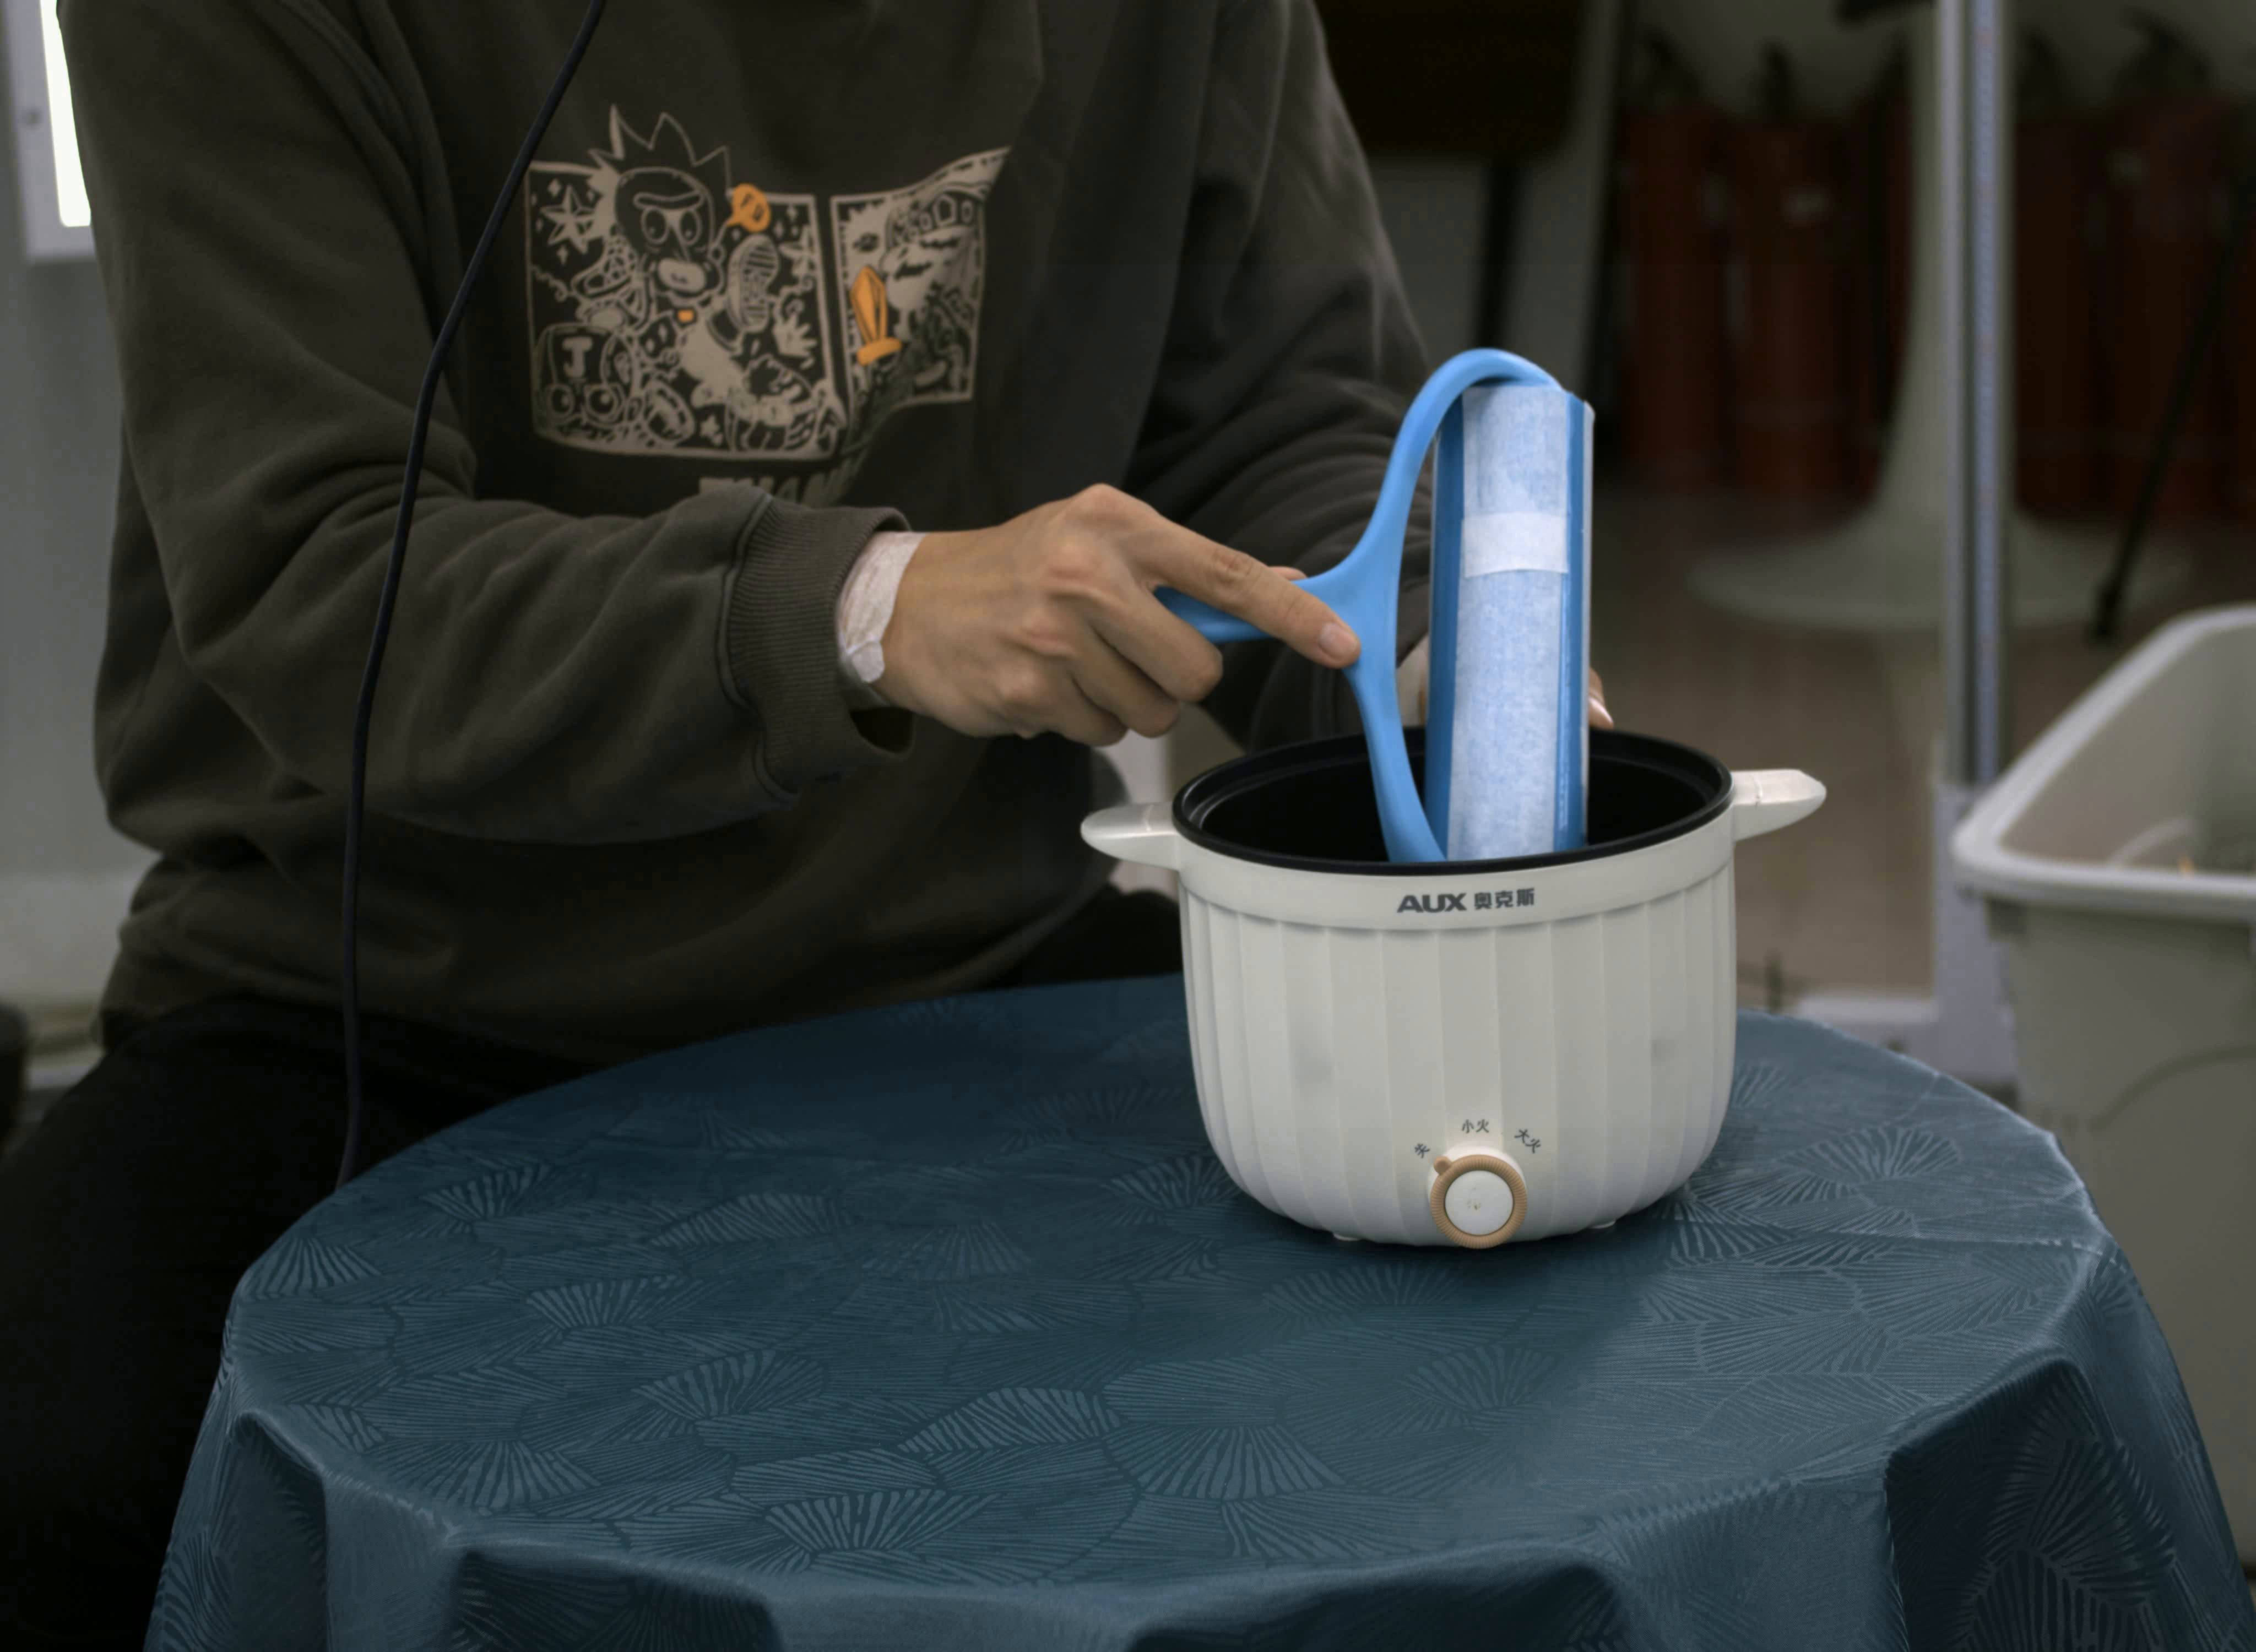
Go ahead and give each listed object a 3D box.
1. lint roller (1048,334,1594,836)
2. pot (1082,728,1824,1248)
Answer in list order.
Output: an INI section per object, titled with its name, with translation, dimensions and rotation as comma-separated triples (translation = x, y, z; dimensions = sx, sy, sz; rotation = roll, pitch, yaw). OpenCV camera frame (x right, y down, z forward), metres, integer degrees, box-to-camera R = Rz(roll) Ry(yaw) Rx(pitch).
[lint roller]
translation = 0.067, -0.057, 1.739
dimensions = 0.177, 0.232, 0.068
rotation = 4, -24, -9
[pot]
translation = 0.109, 0.054, 1.726
dimensions = 0.237, 0.144, 0.190
rotation = -5, 10, 3
